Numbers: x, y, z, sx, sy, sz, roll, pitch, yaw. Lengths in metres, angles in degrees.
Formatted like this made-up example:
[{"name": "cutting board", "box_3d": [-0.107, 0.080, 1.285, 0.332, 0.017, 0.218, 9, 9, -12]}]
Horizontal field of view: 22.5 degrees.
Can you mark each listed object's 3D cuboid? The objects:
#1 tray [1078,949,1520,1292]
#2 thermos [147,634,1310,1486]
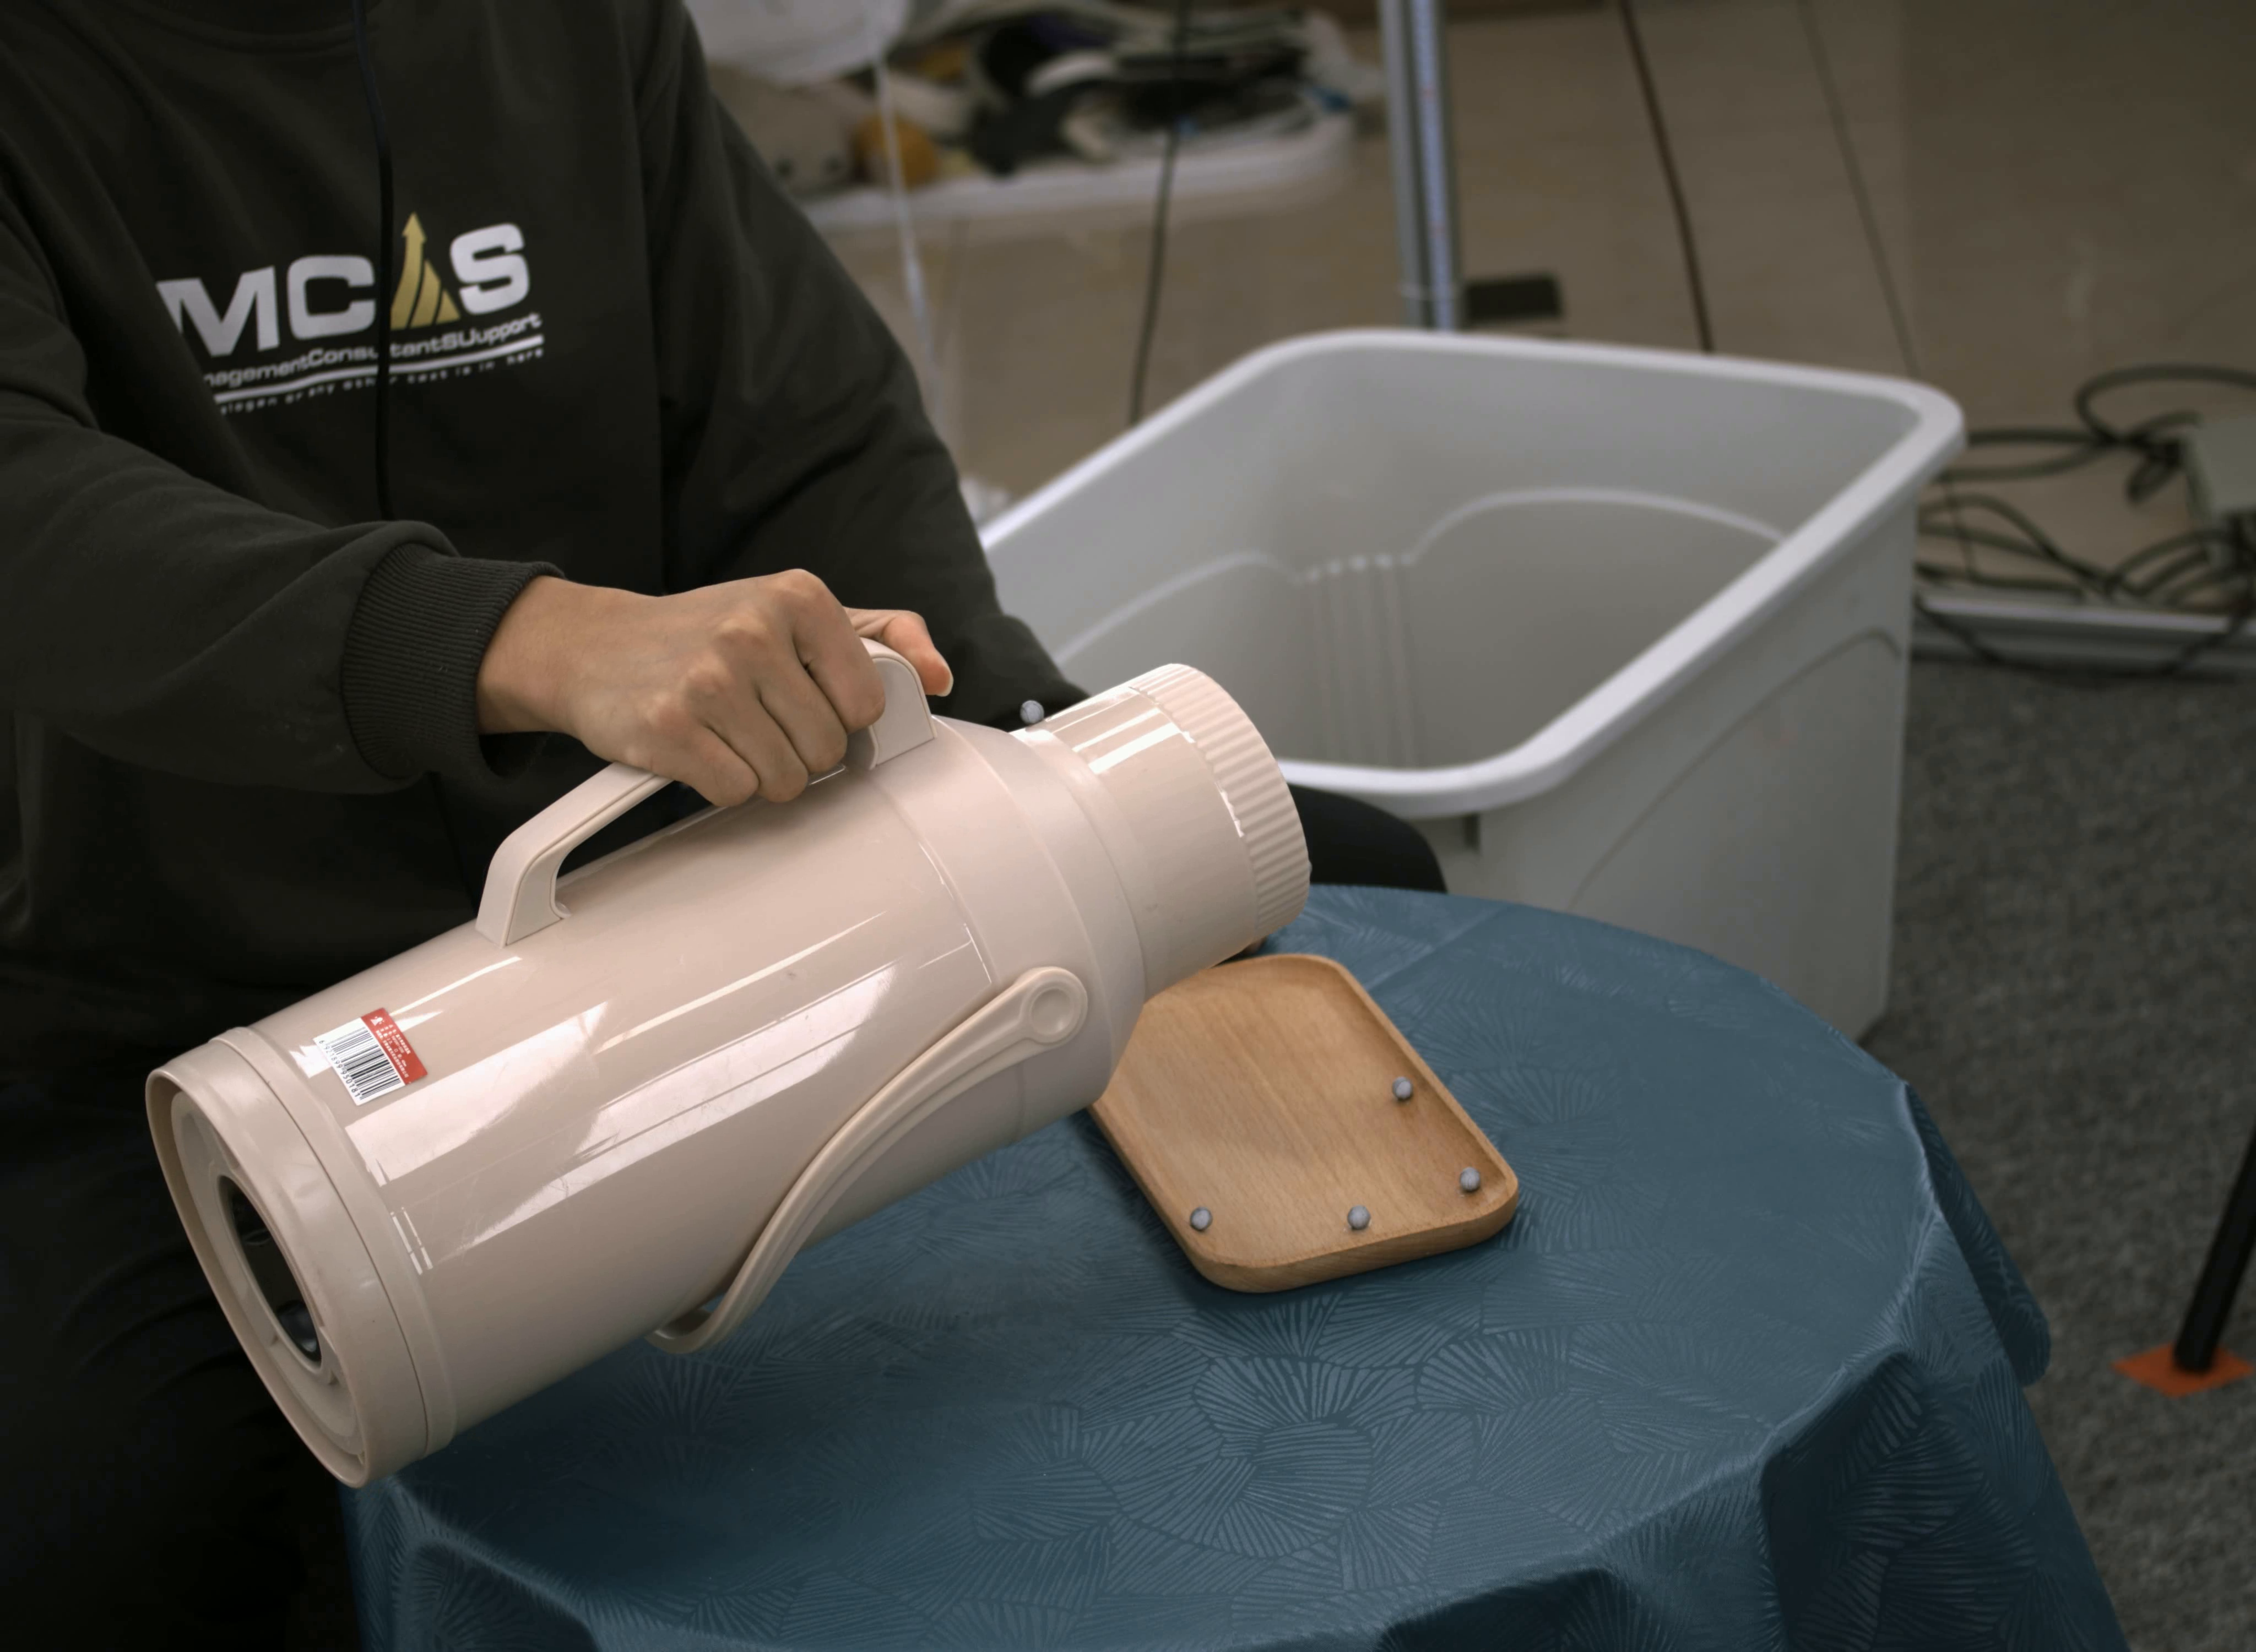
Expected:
[{"name": "tray", "box_3d": [0.057, 0.111, 2.175, 0.130, 0.023, 0.247, -10, 24, -13]}, {"name": "thermos", "box_3d": [-0.135, 0.058, 1.983, 0.404, 0.210, 0.173, -26, 29, -19]}]
